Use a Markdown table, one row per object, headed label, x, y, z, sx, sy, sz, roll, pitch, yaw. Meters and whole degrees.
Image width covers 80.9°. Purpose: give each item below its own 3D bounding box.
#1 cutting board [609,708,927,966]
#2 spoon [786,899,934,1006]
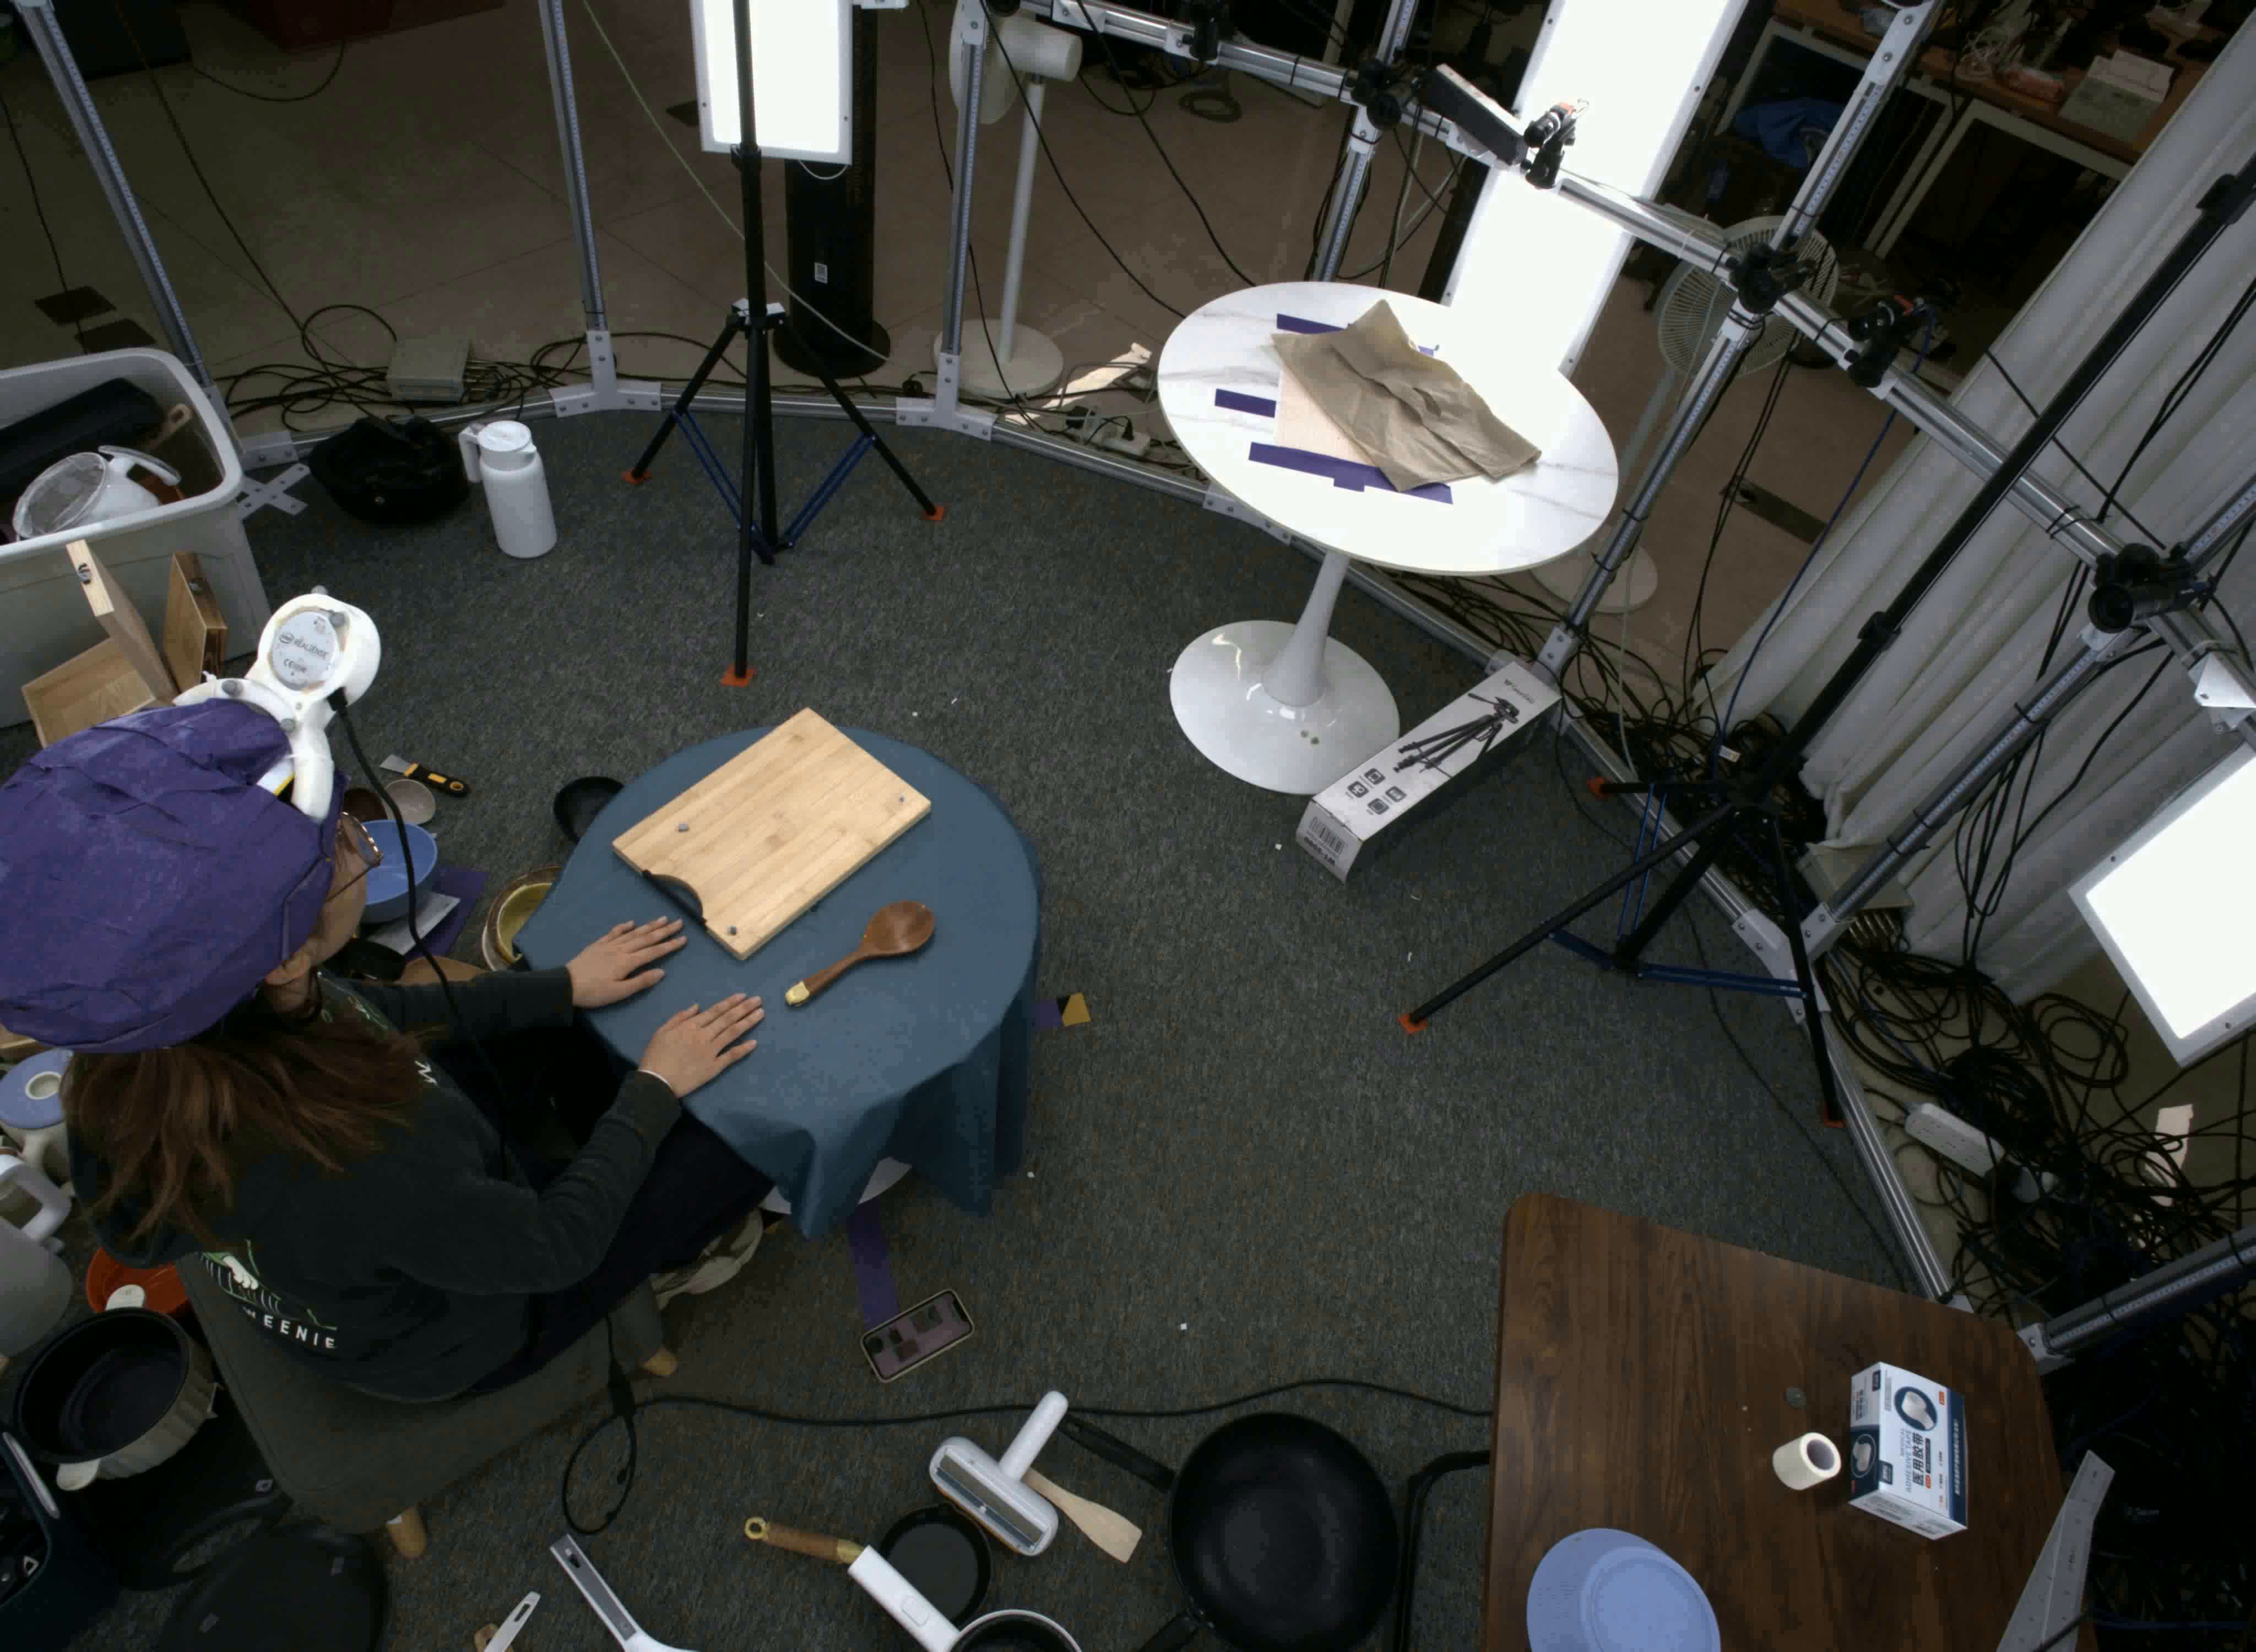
| label | x | y | z | sx | sy | sz | roll | pitch | yaw |
| --- | --- | --- | --- | --- | --- | --- | --- | --- | --- |
| cutting board | -0.468 | 0.003 | 1.705 | 0.245 | 0.024 | 0.348 | 36 | 54 | 14 |
| spoon | -0.334 | 0.158 | 1.623 | 0.216 | 0.017 | 0.074 | -34 | 70 | -33 |
